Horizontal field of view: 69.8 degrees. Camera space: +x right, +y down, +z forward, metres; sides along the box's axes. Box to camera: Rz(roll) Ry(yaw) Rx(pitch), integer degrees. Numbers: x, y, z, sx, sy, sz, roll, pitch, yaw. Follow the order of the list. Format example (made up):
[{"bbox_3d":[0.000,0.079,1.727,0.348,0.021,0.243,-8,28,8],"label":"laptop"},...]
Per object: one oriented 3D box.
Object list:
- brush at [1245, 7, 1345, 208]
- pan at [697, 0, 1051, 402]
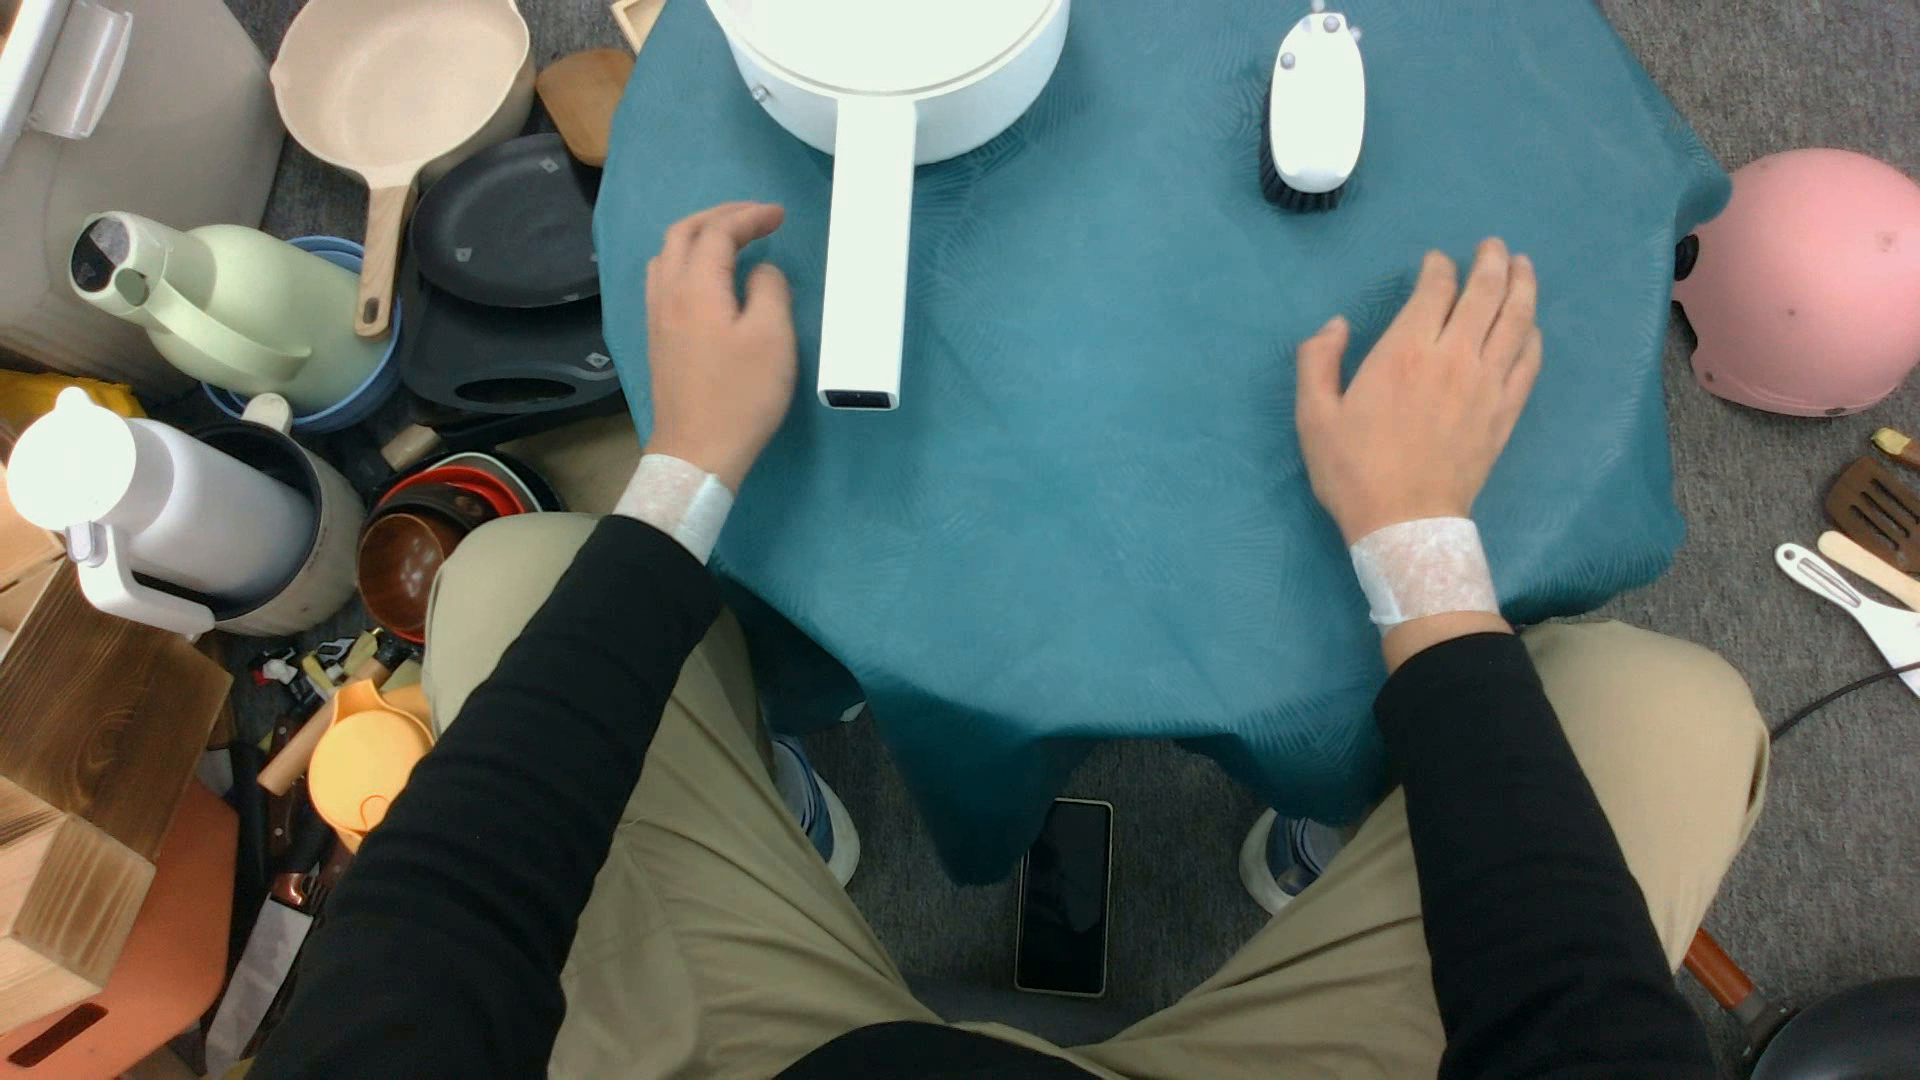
[{"bbox_3d":[0.186,-0.242,0.751,0.050,0.072,0.099,4,77,4],"label":"brush"},{"bbox_3d":[-0.049,-0.237,0.744,0.201,0.102,0.355,2,77,0],"label":"pan"}]
